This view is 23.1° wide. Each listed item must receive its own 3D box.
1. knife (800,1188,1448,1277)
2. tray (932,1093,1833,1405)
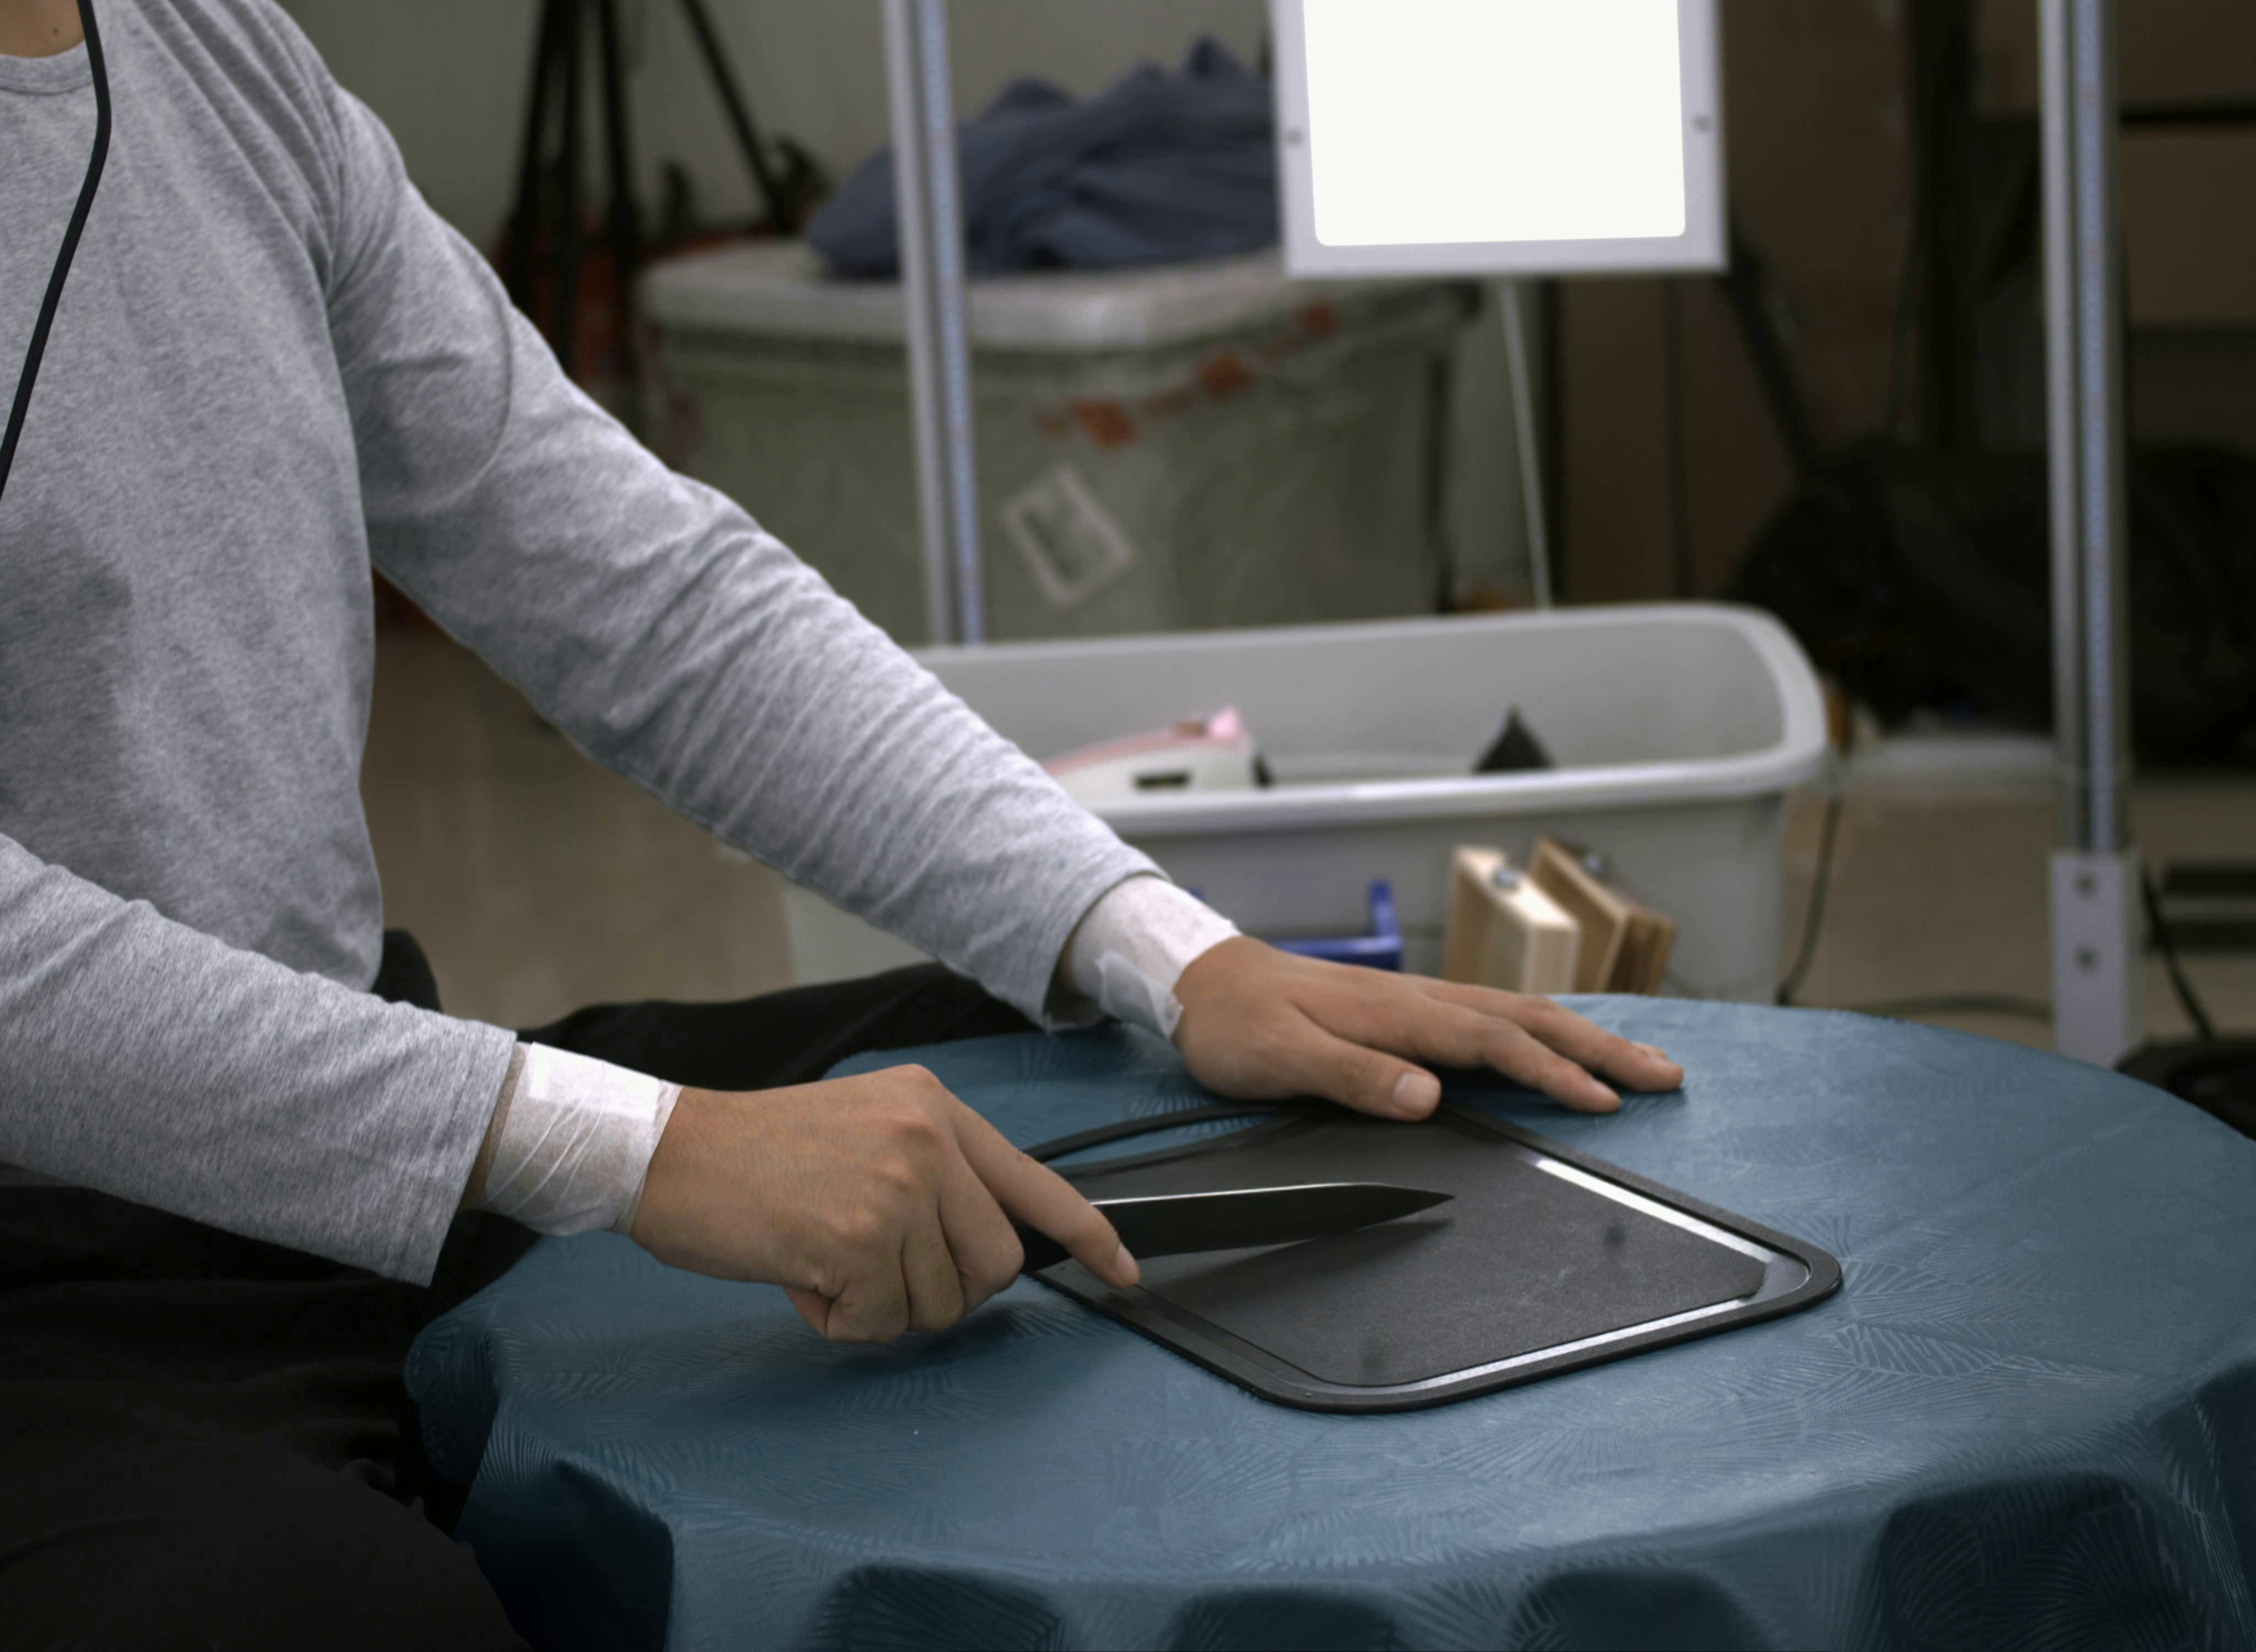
[{"bbox_3d":[0.004,0.130,1.799,0.233,0.024,0.016,-2,27,-24],"label":"knife"},{"bbox_3d":[0.074,0.134,1.833,0.207,0.010,0.331,-12,15,-25],"label":"tray"}]
